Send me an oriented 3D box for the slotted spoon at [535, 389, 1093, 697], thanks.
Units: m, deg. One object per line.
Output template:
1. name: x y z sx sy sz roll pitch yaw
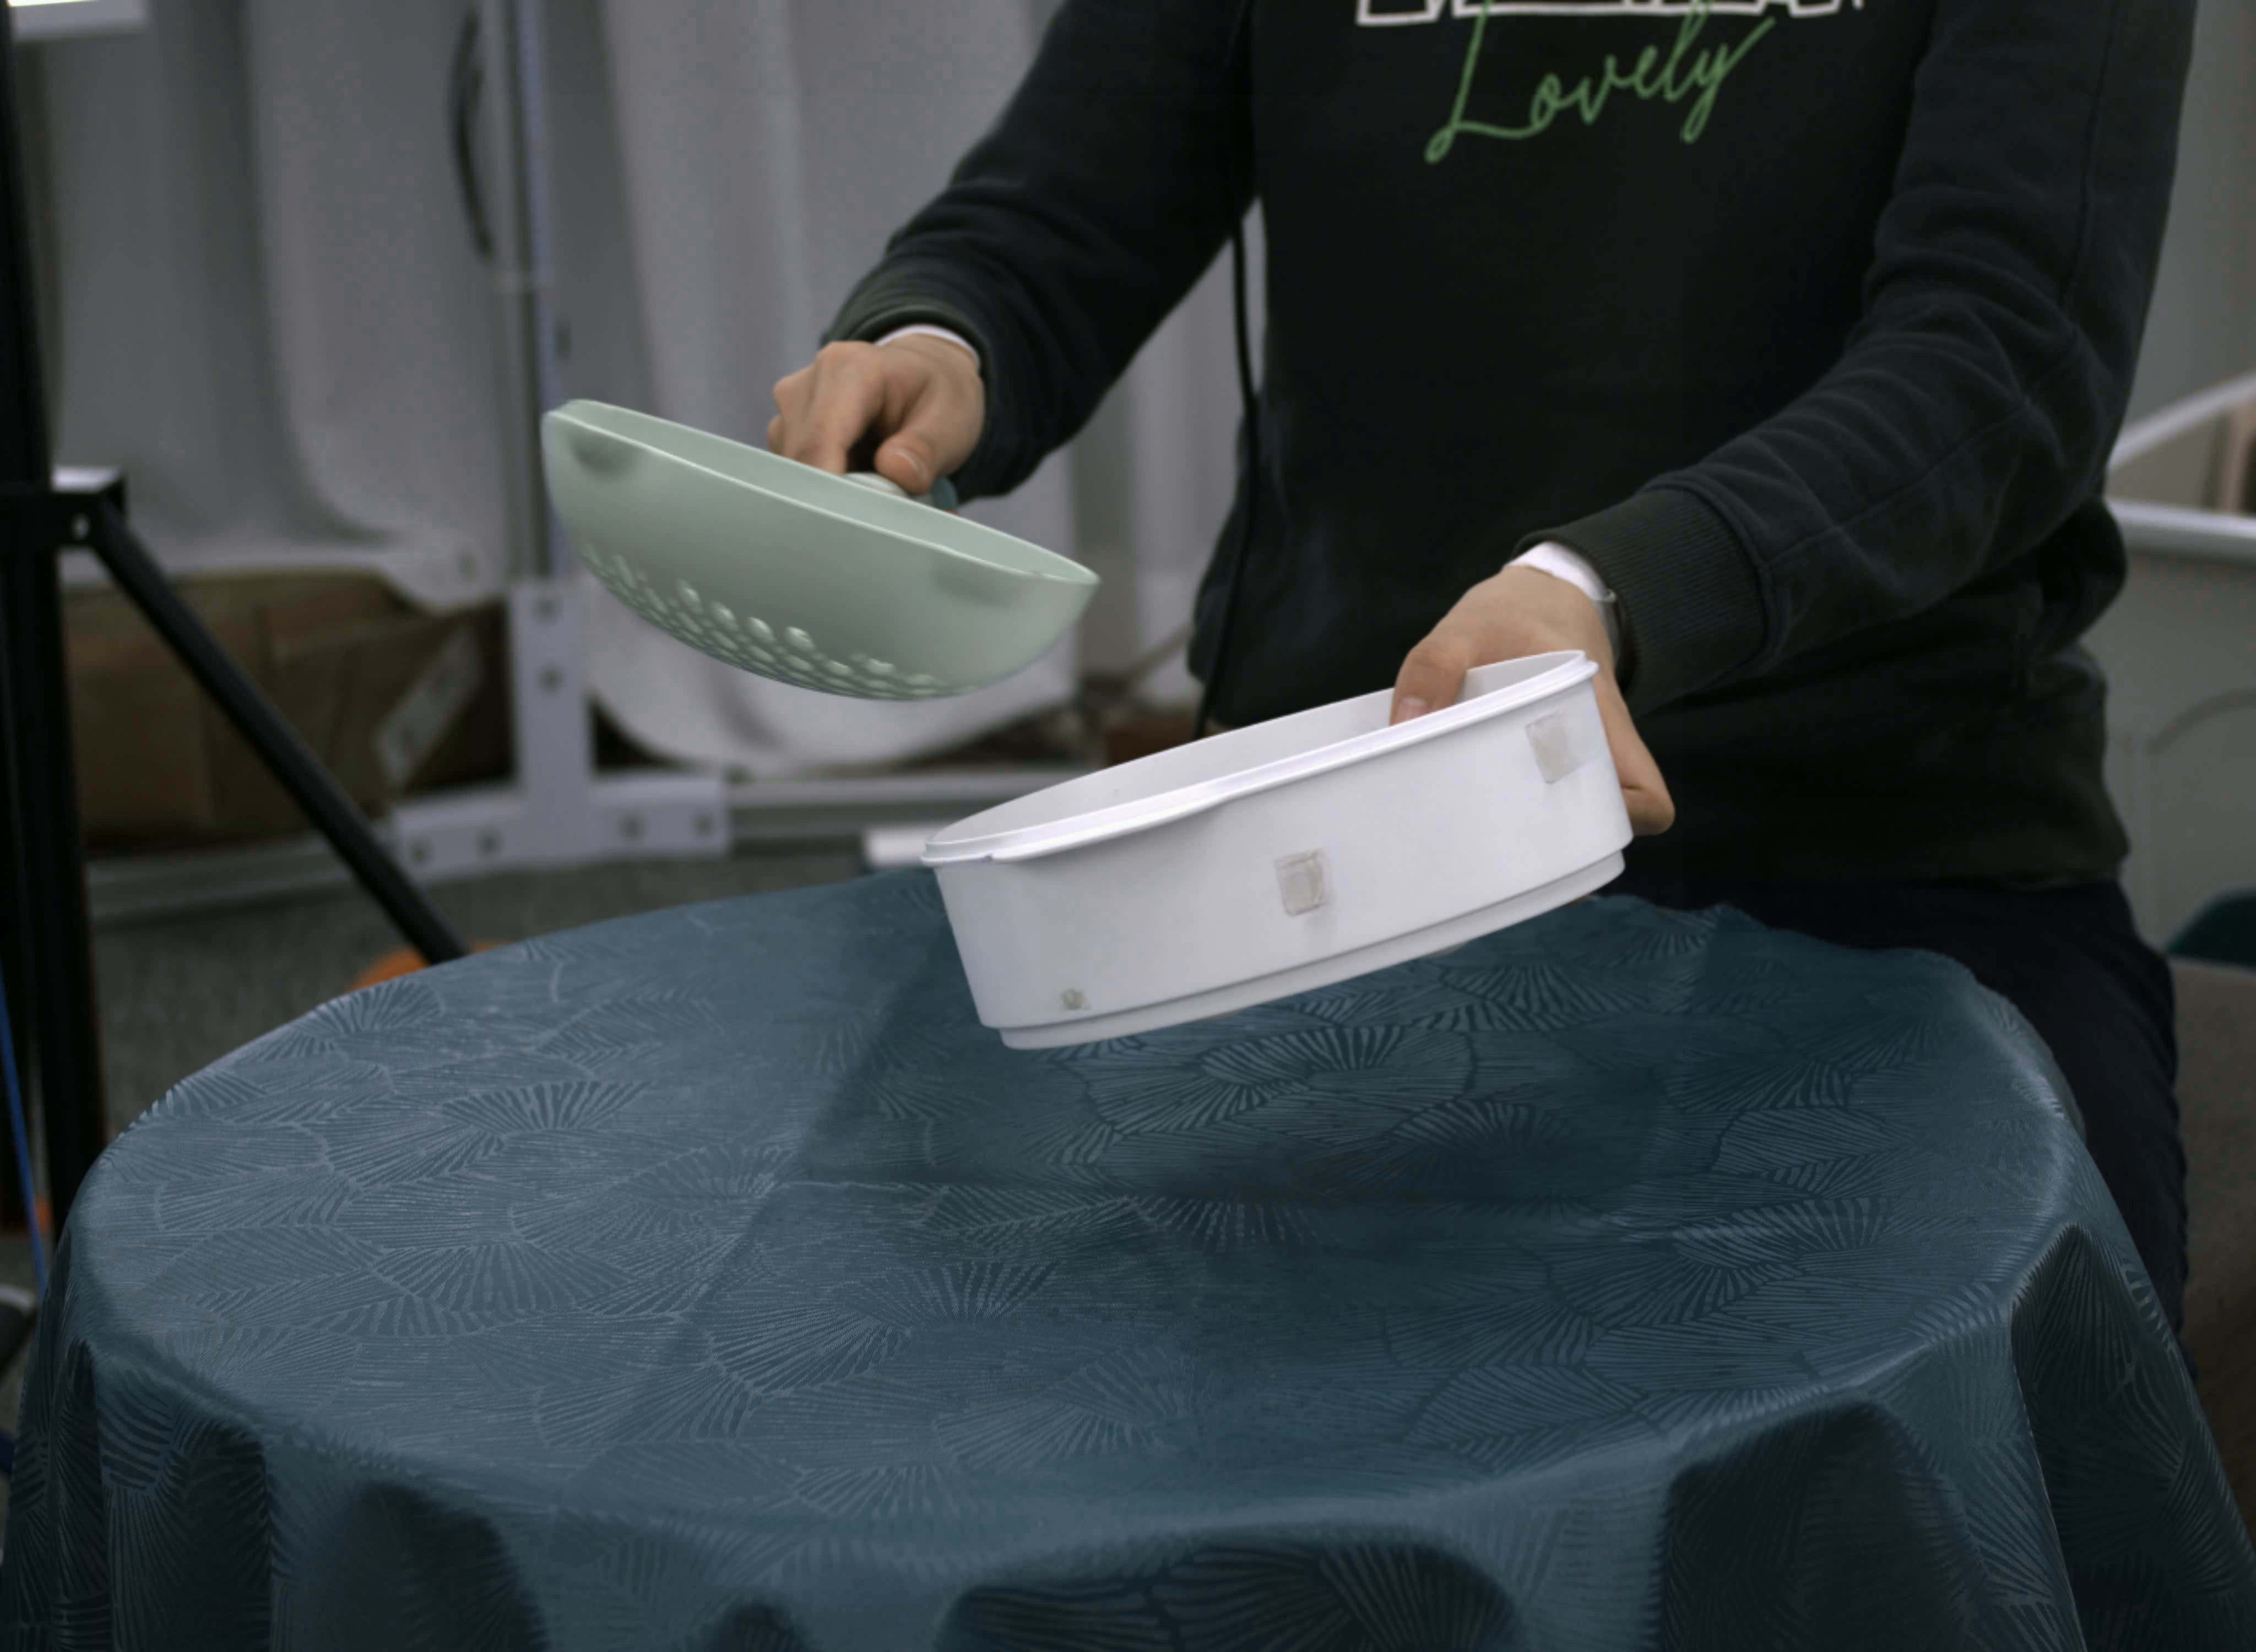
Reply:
1. slotted spoon: -0.086 -0.096 1.643 0.169 0.075 0.357 20 14 3

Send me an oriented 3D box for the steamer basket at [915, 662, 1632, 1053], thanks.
1. steamer basket: 0.044 0.011 1.504 0.205 0.069 0.226 -12 6 28
